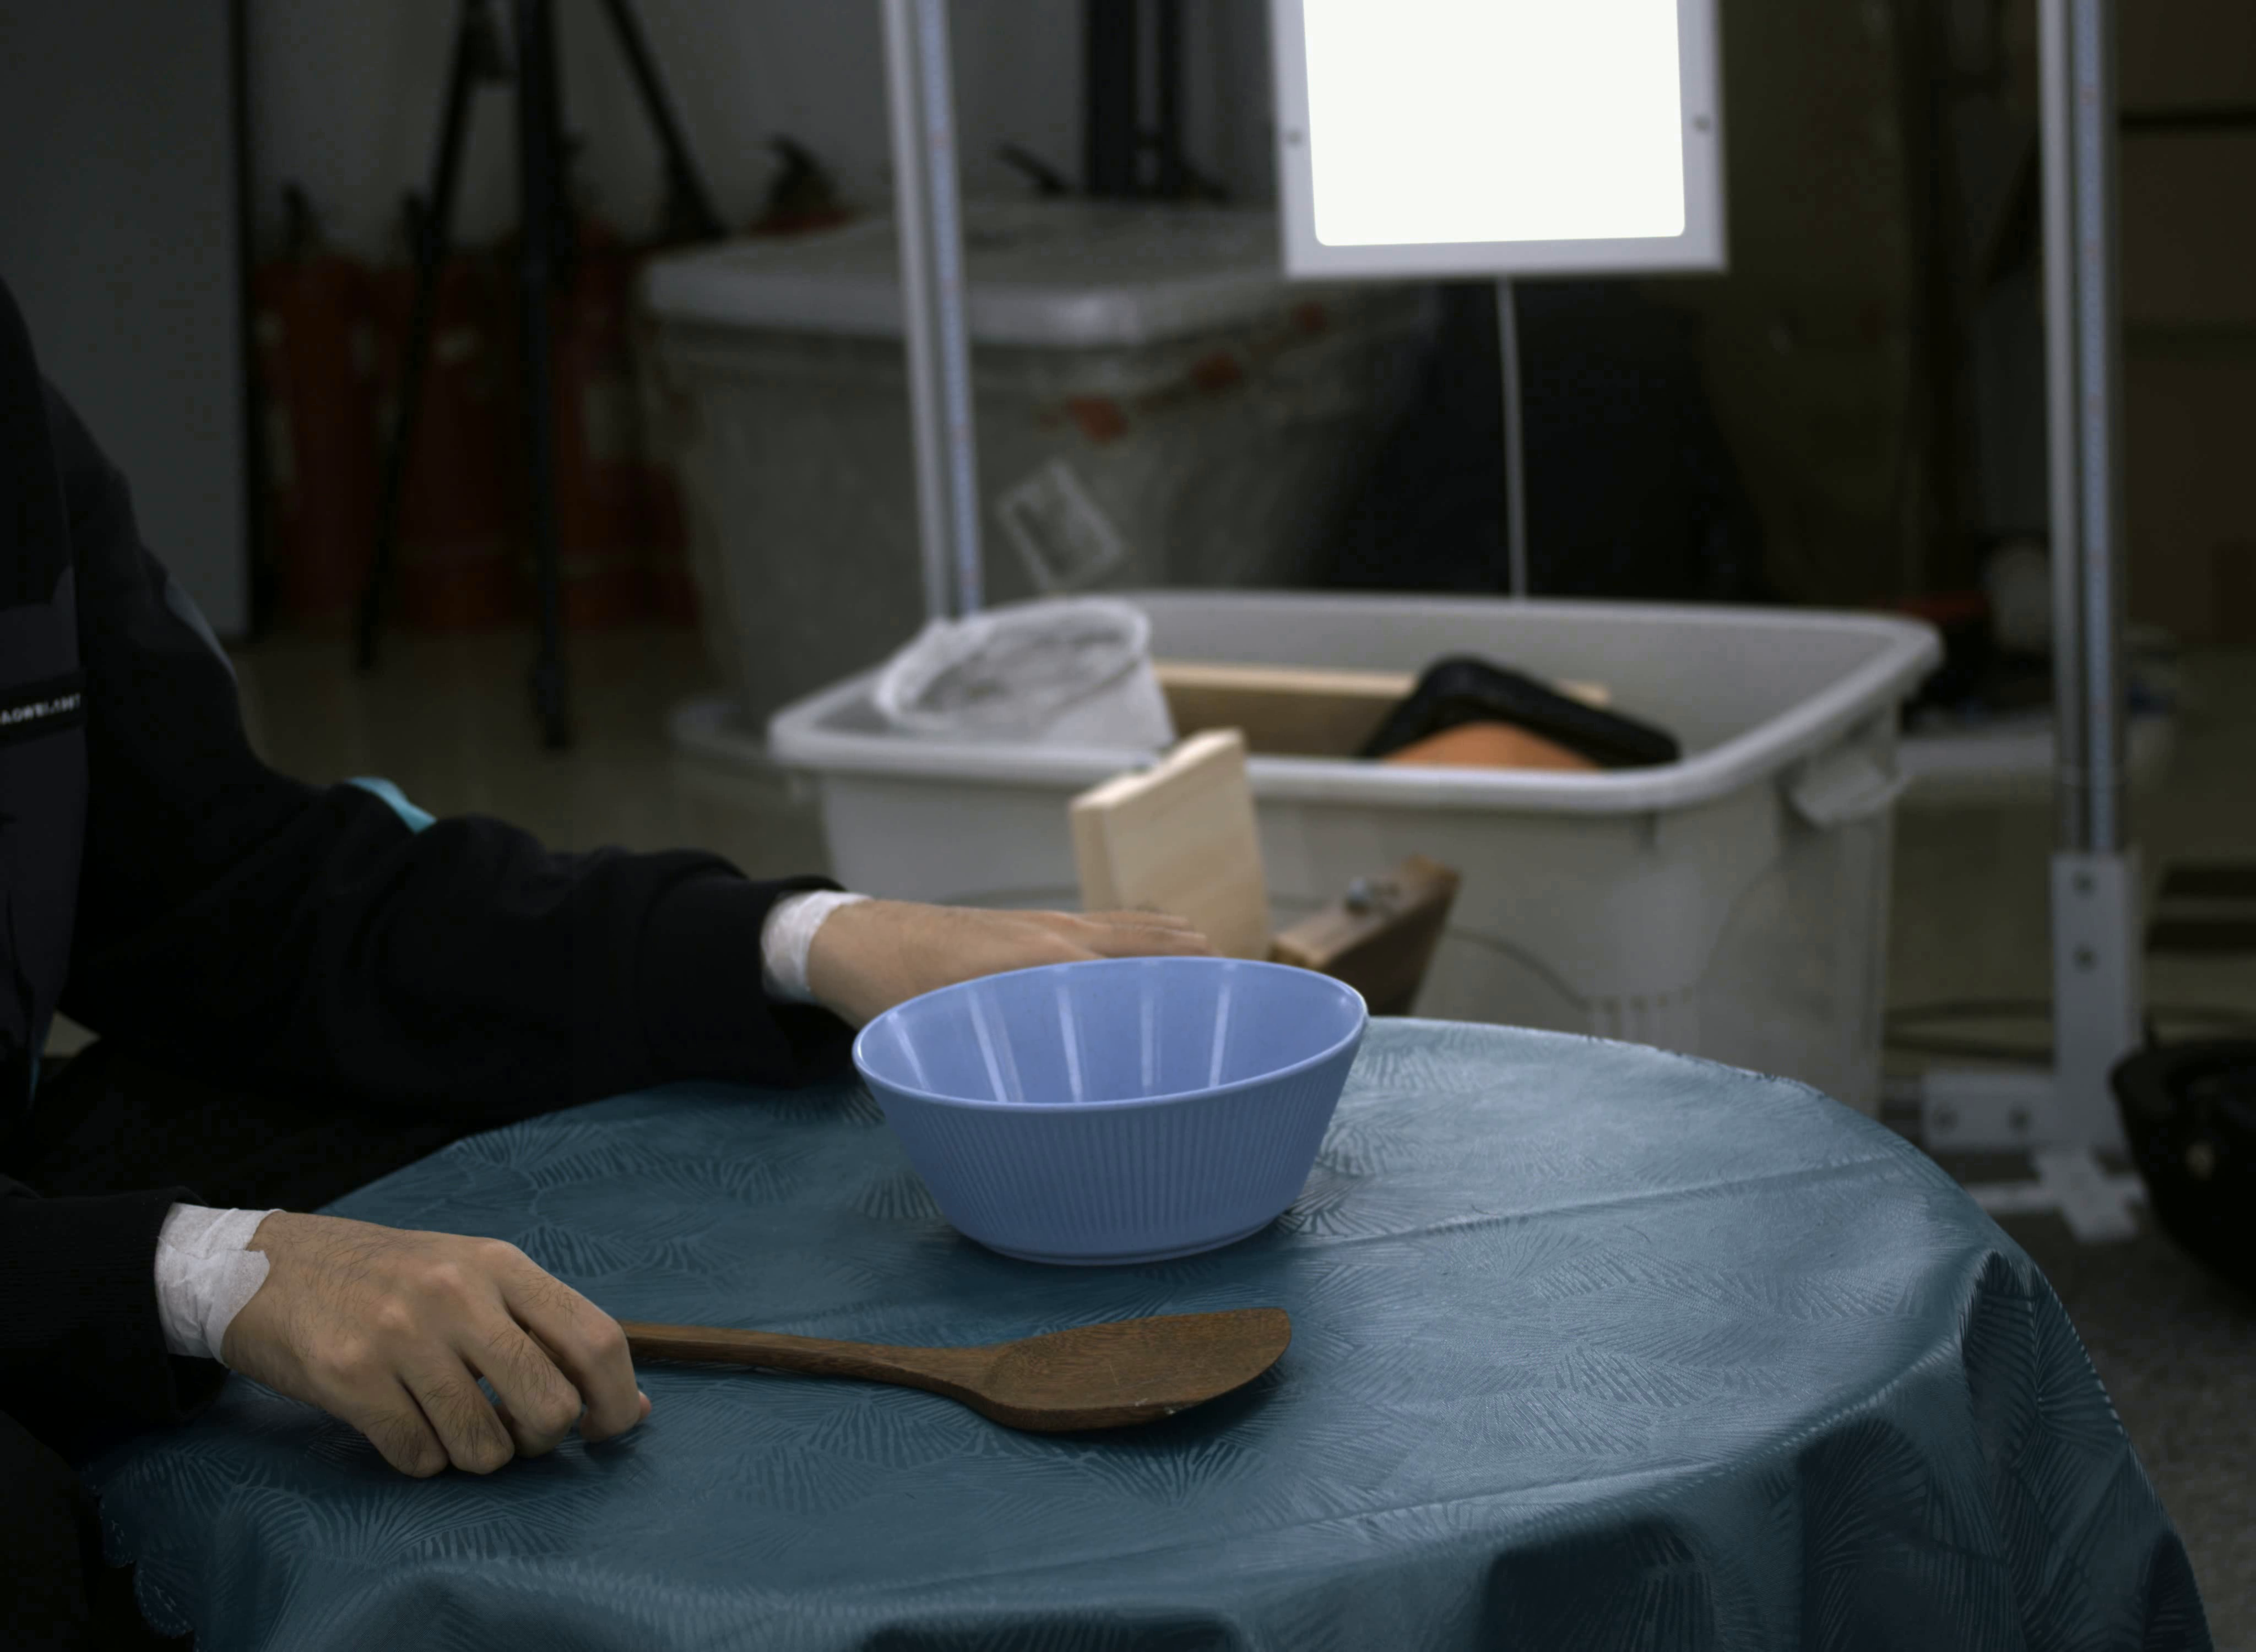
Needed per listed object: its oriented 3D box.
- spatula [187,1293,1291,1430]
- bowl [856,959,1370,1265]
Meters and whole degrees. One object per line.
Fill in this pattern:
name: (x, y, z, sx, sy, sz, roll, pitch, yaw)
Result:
spatula: (-0.133, 0.165, 1.758, 0.392, 0.016, 0.094, 1, 14, 24)
bowl: (-0.002, 0.099, 1.863, 0.175, 0.070, 0.176, -6, 13, 0)
